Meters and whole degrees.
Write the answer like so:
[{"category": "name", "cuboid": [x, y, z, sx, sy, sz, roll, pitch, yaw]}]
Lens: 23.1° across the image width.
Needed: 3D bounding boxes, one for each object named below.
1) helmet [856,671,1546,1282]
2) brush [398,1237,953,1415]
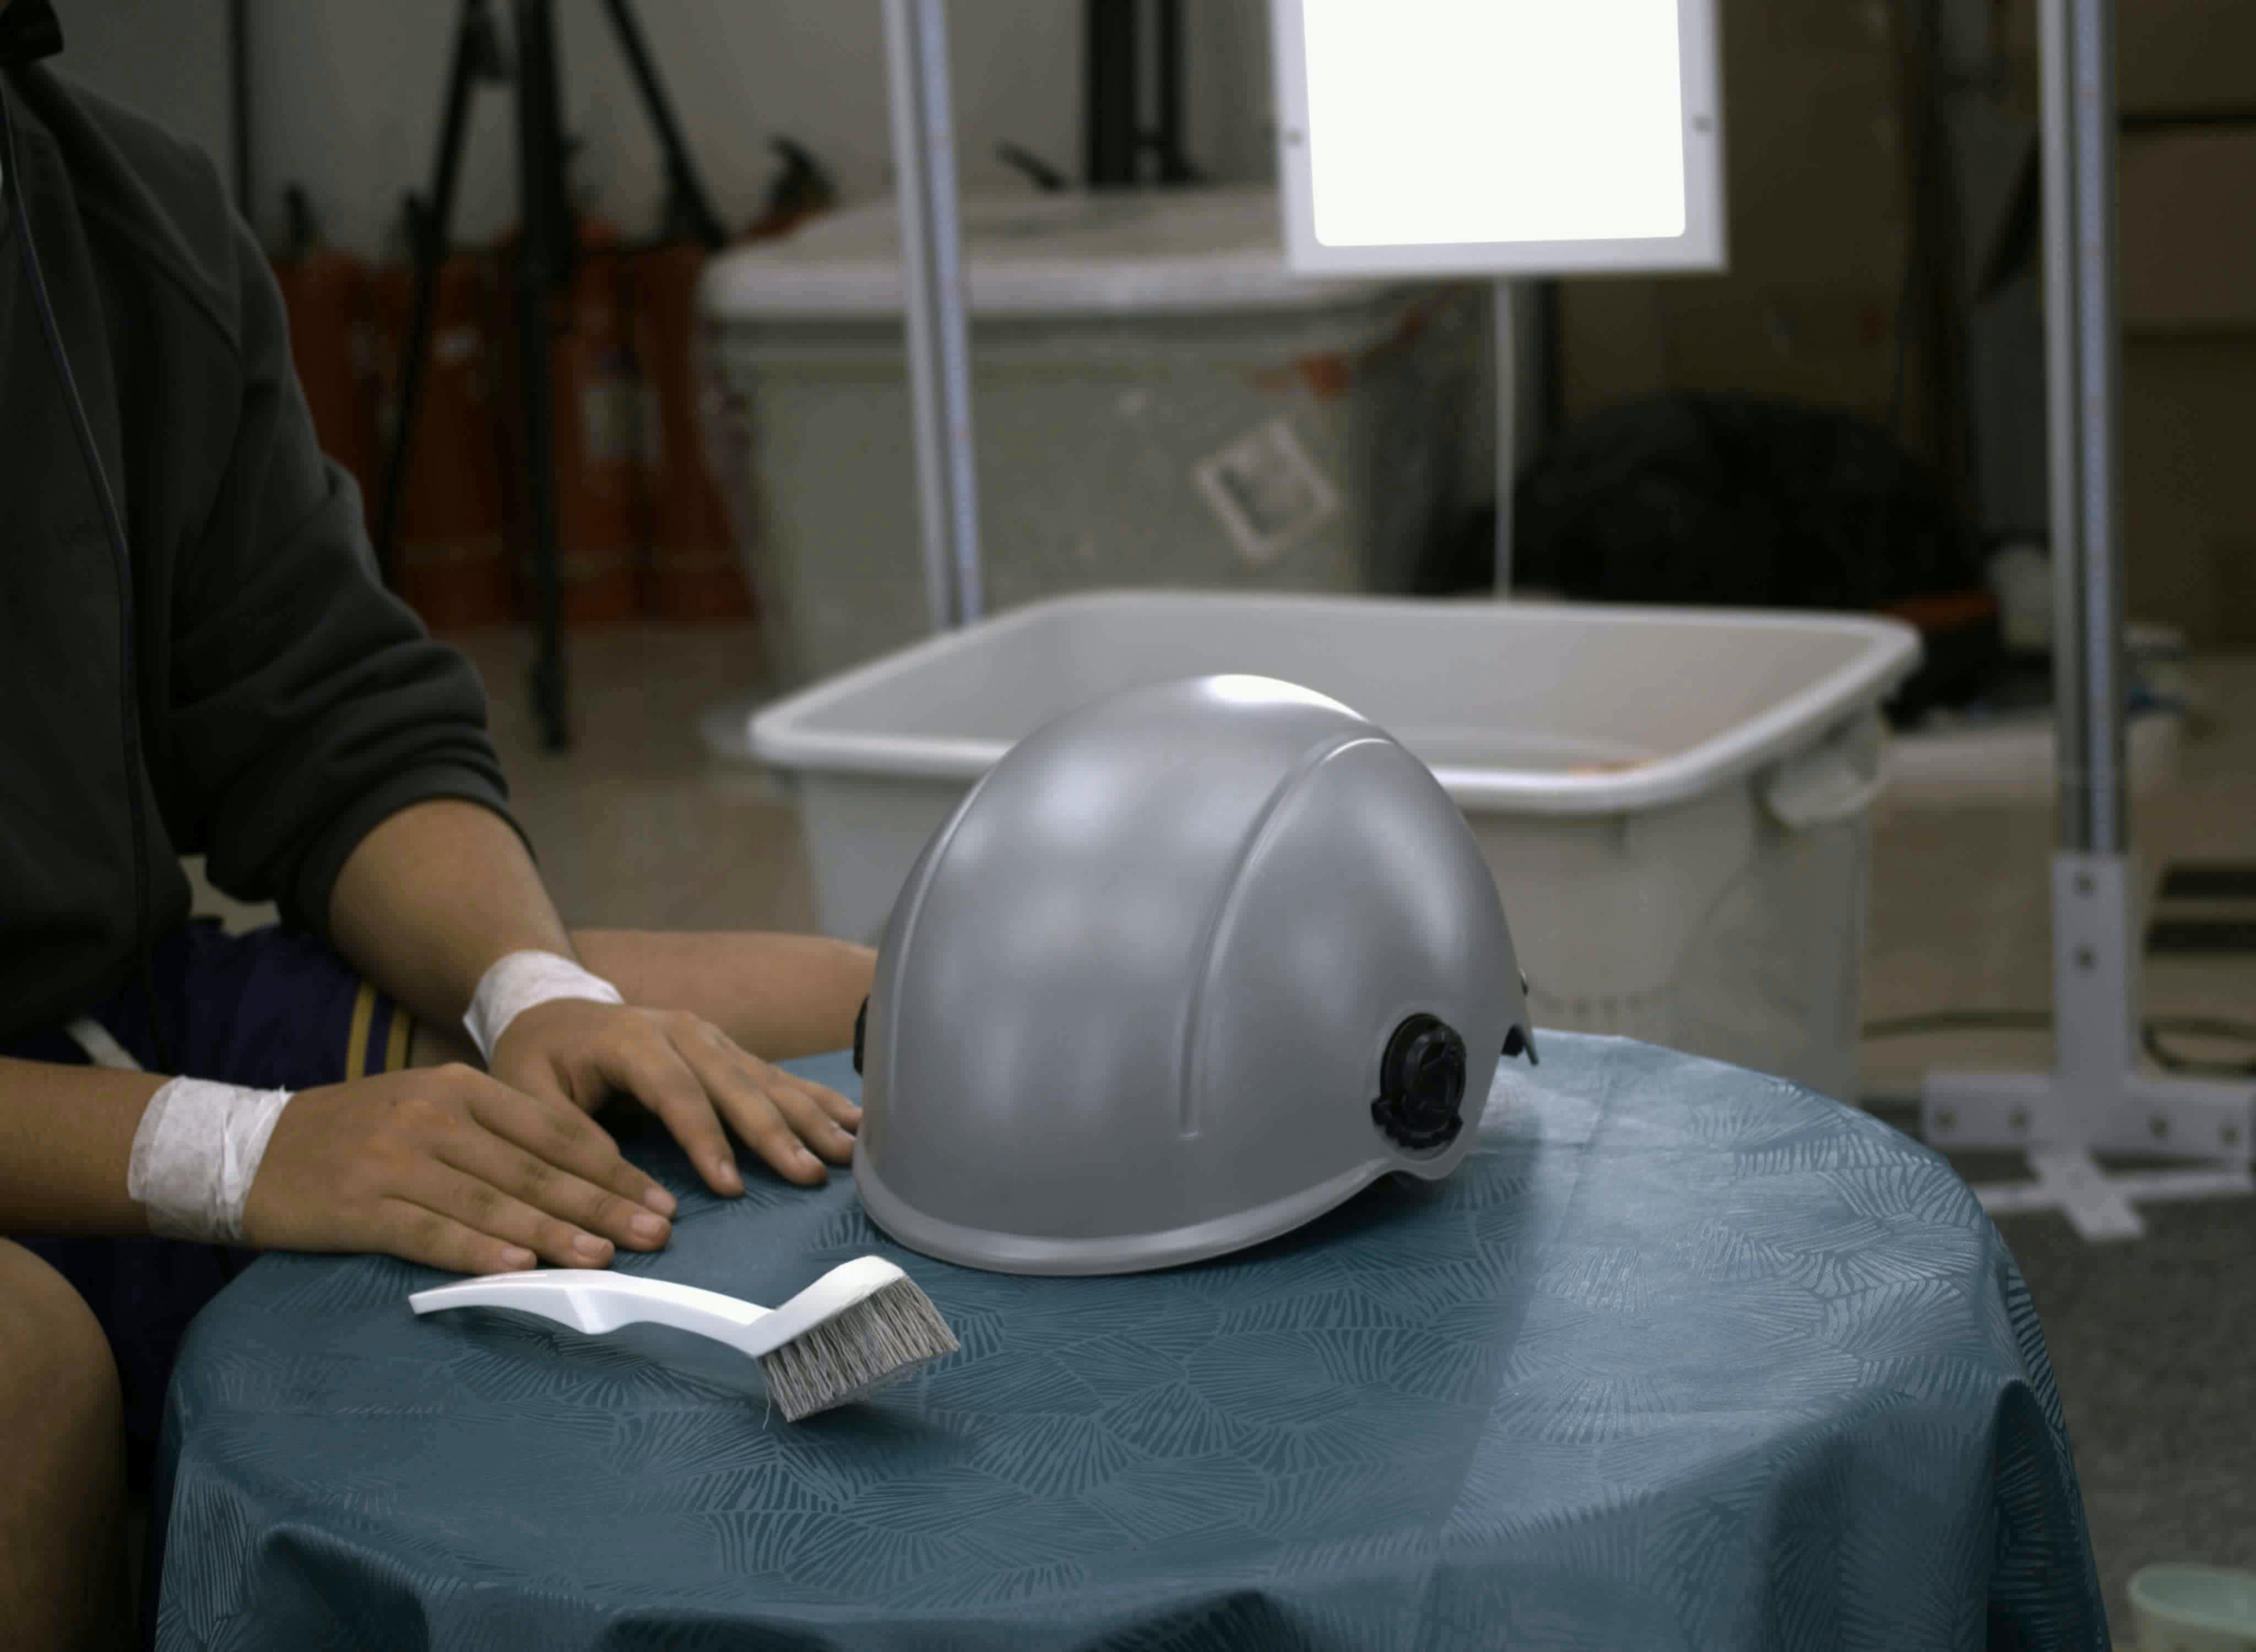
[{"category": "helmet", "cuboid": [0.018, 0.037, 1.912, 0.236, 0.169, 0.270, 3, 18, 29]}, {"category": "brush", "cuboid": [-0.148, 0.164, 1.752, 0.249, 0.050, 0.033, -10, 3, 45]}]
